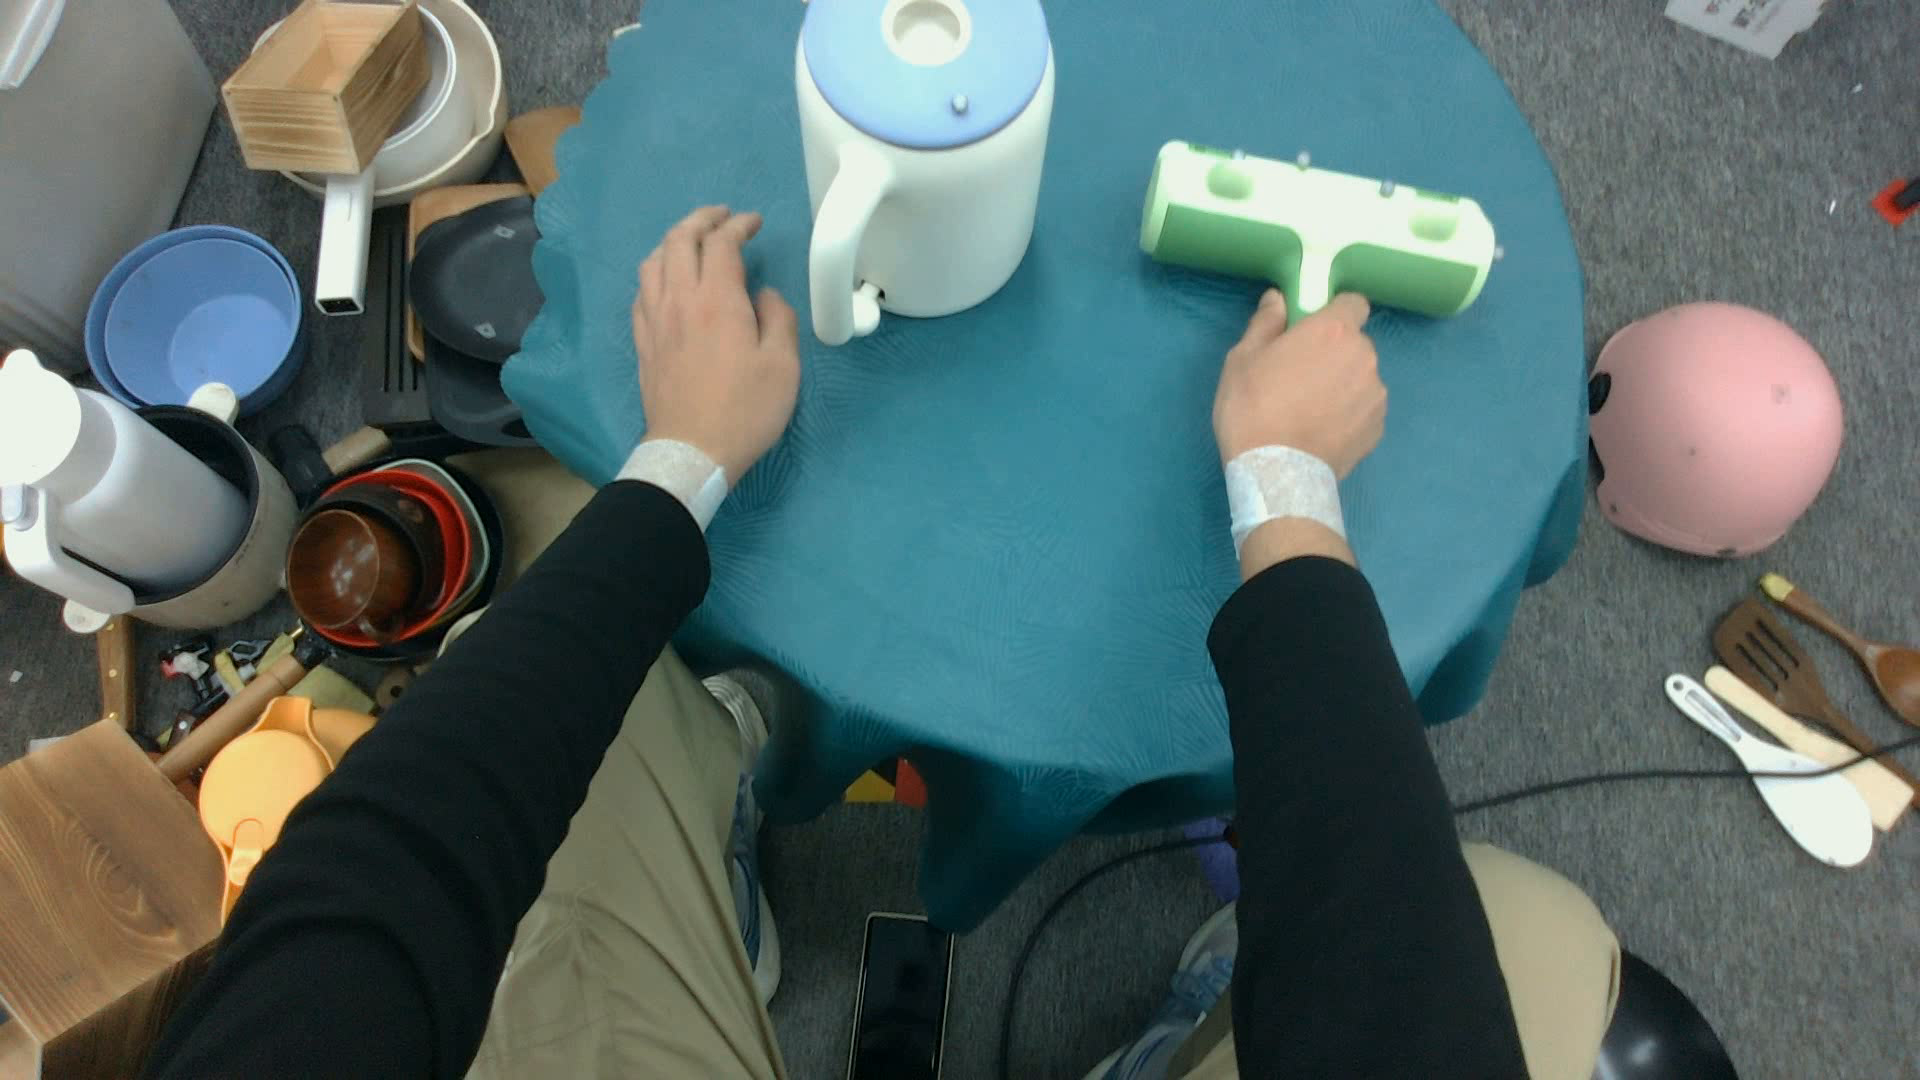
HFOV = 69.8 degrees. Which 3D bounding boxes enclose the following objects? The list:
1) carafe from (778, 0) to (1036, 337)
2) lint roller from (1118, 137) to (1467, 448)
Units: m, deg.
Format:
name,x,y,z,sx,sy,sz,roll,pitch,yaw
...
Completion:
name,x,y,z,sx,sy,sz,roll,pitch,yaw
carafe,-0.039,-0.201,0.738,0.132,0.182,0.191,24,75,5
lint roller,0.187,-0.144,0.769,0.198,0.082,0.184,11,57,-2
